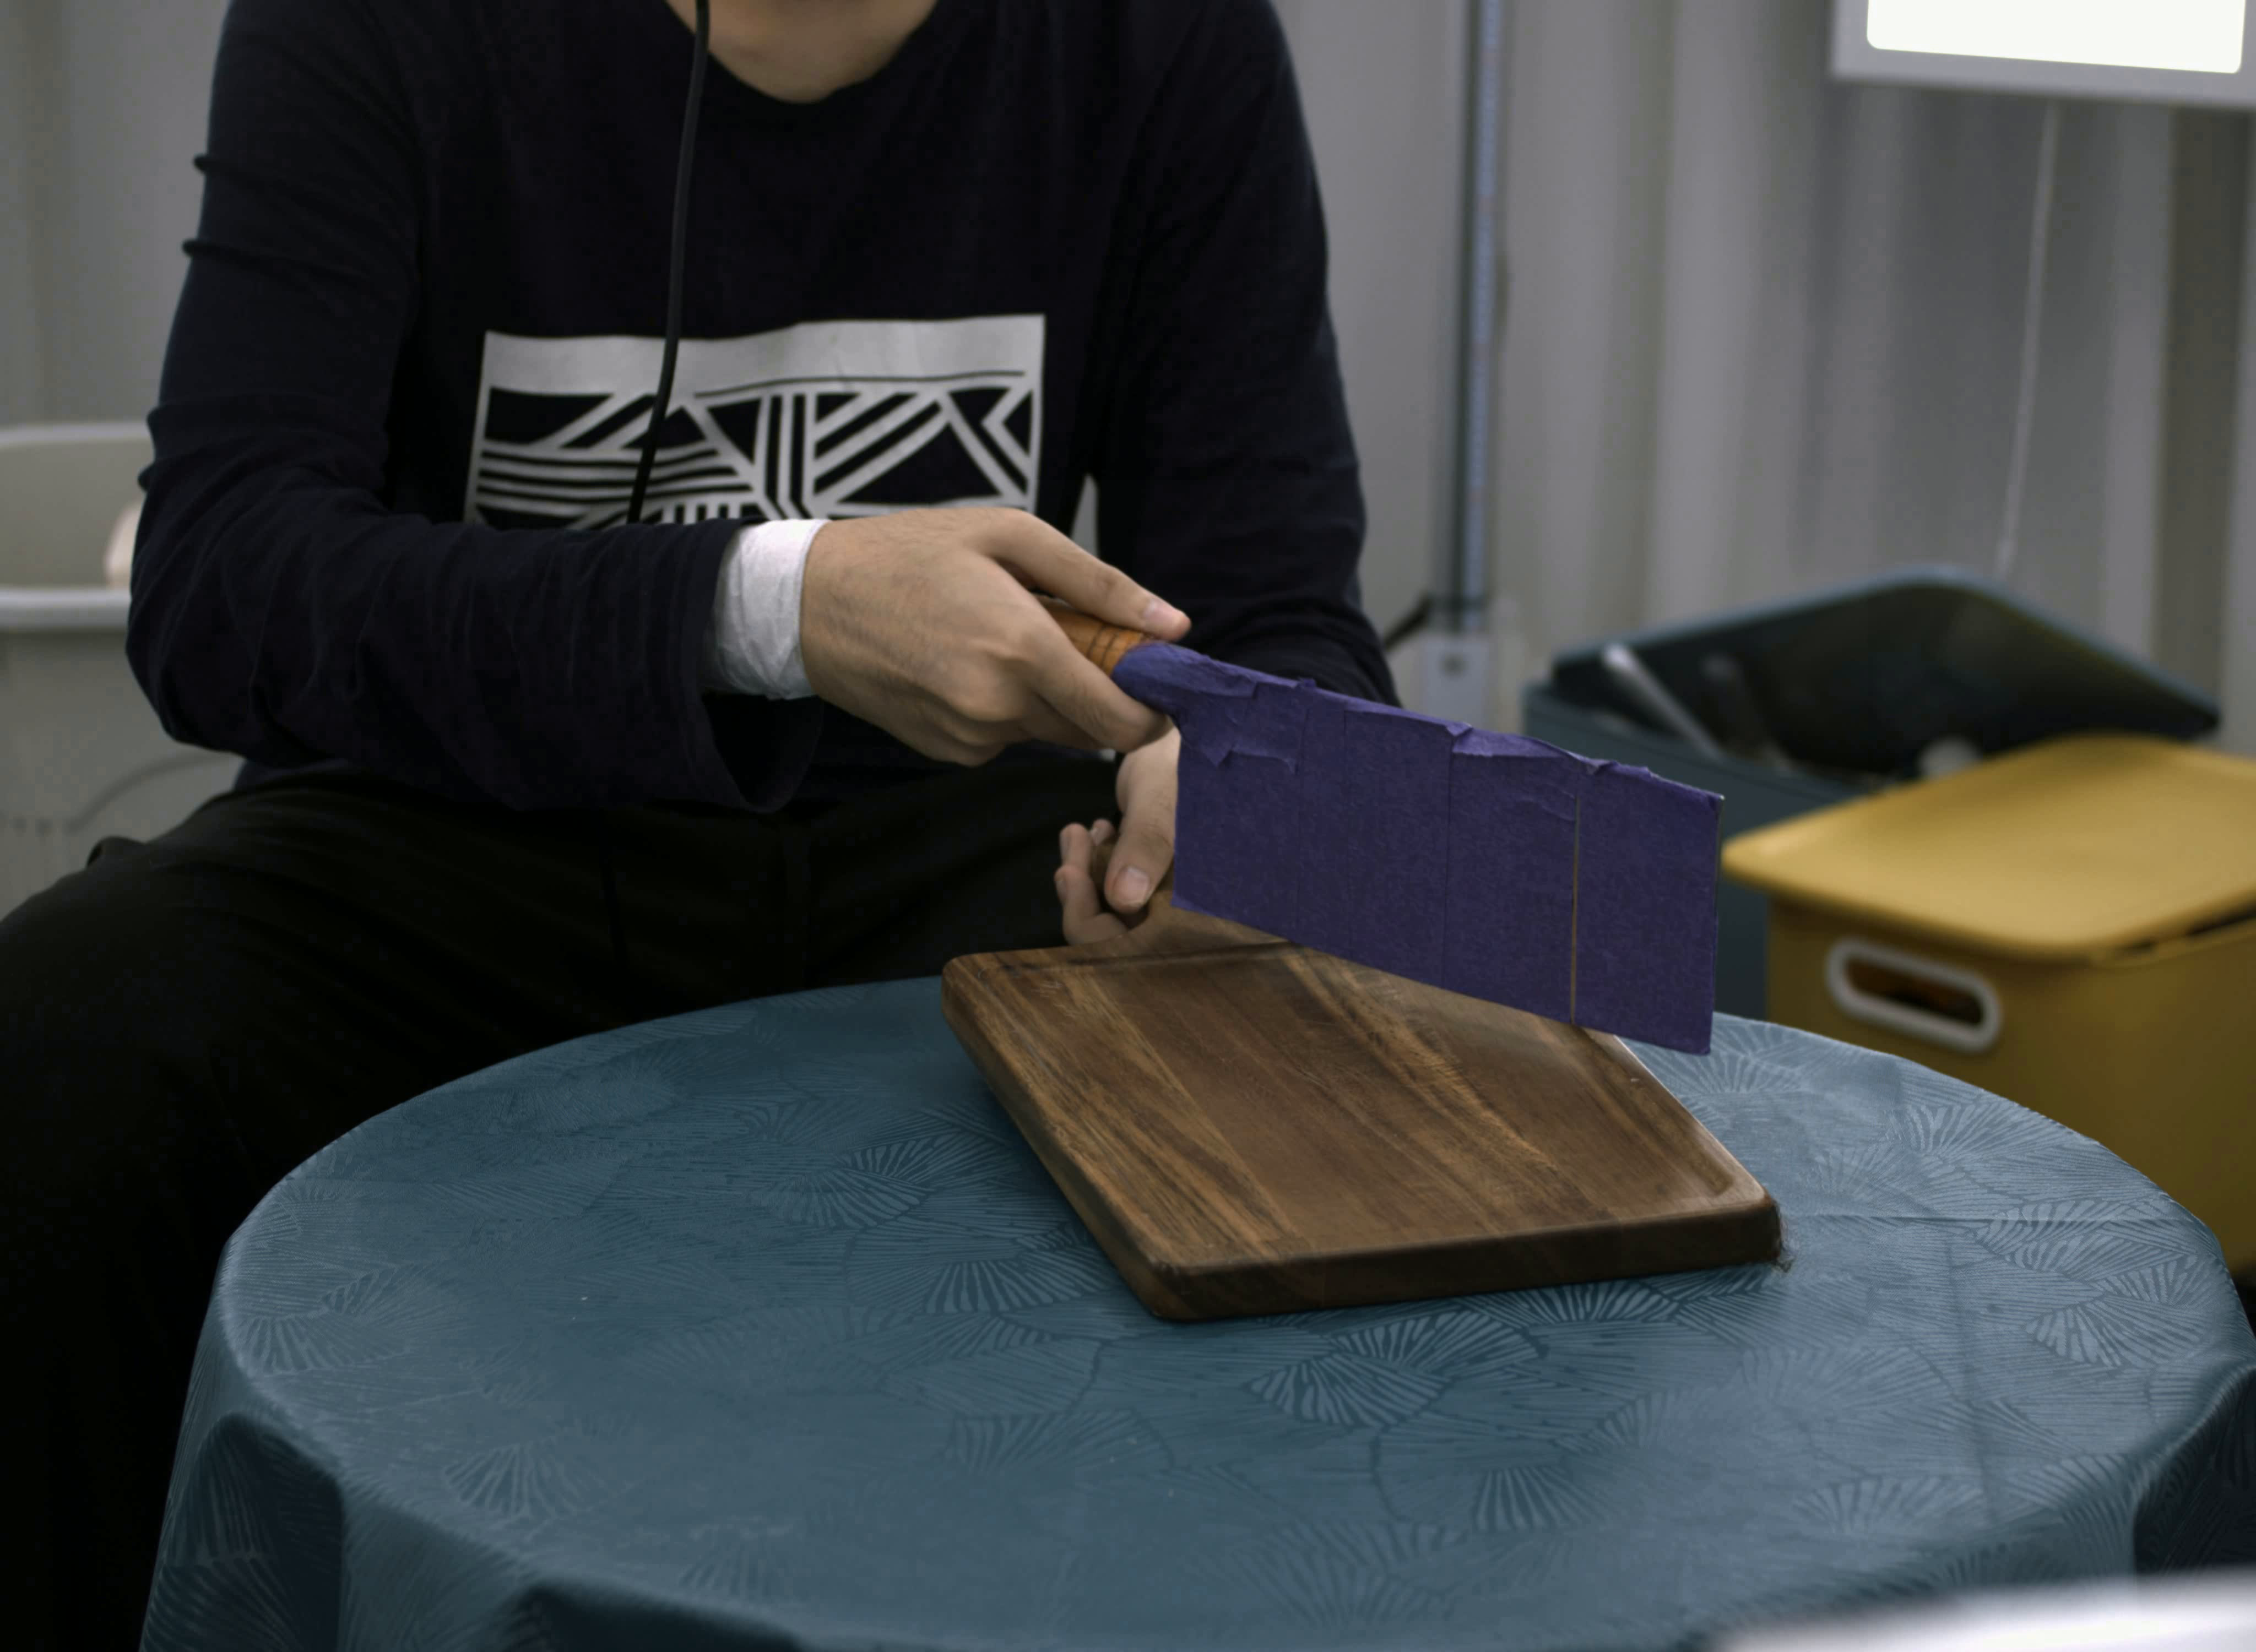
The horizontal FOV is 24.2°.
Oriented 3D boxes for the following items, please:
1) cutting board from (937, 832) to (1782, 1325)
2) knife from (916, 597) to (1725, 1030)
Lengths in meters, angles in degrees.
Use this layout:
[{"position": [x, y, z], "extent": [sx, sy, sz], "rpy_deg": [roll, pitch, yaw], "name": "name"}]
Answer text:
[{"position": [0.052, 0.070, 1.688], "extent": [0.201, 0.023, 0.348], "rpy_deg": [-4, 21, -17], "name": "cutting board"}, {"position": [0.057, -0.003, 1.712], "extent": [0.311, 0.105, 0.032], "rpy_deg": [16, 23, 35], "name": "knife"}]
